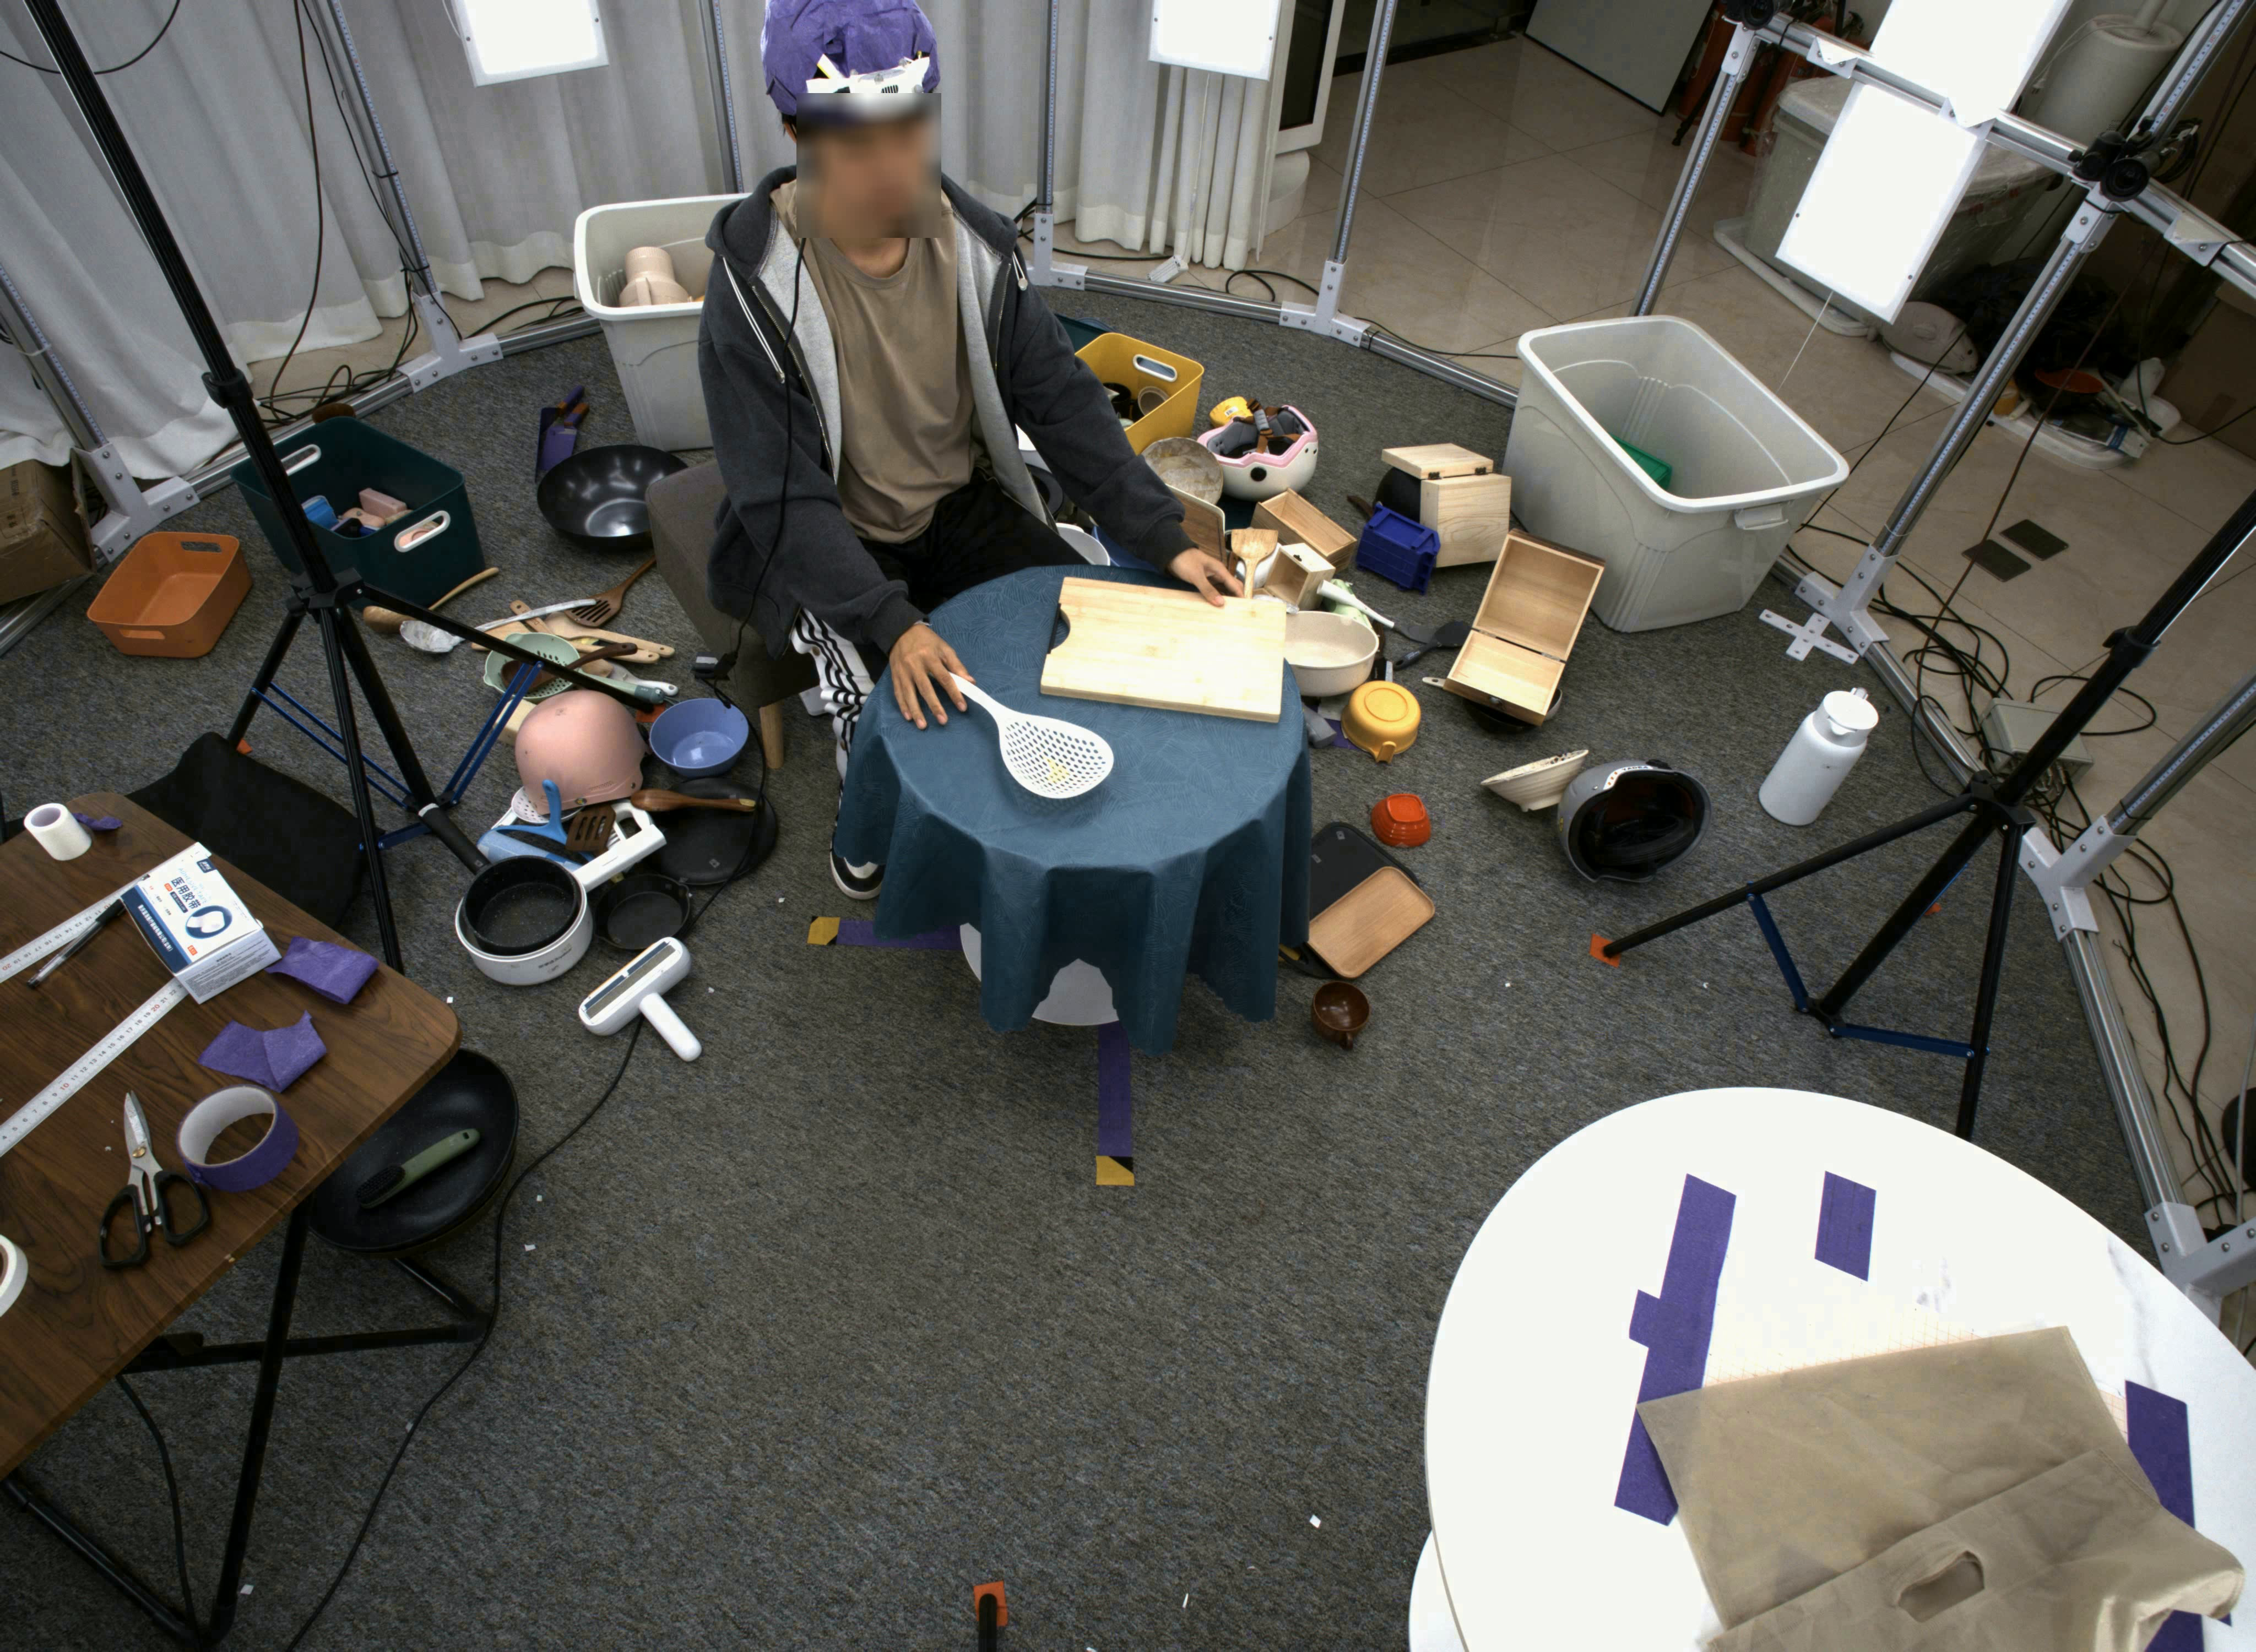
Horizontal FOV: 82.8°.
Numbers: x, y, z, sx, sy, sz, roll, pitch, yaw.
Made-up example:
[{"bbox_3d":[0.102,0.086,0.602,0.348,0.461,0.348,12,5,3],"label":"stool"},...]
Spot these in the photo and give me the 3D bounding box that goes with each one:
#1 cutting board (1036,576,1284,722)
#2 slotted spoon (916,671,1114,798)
[{"bbox_3d":[0.053,-0.264,1.889,0.348,0.023,0.257,6,49,2],"label":"cutting board"},{"bbox_3d":[-0.167,-0.140,1.749,0.138,0.049,0.353,-37,60,-28],"label":"slotted spoon"}]
